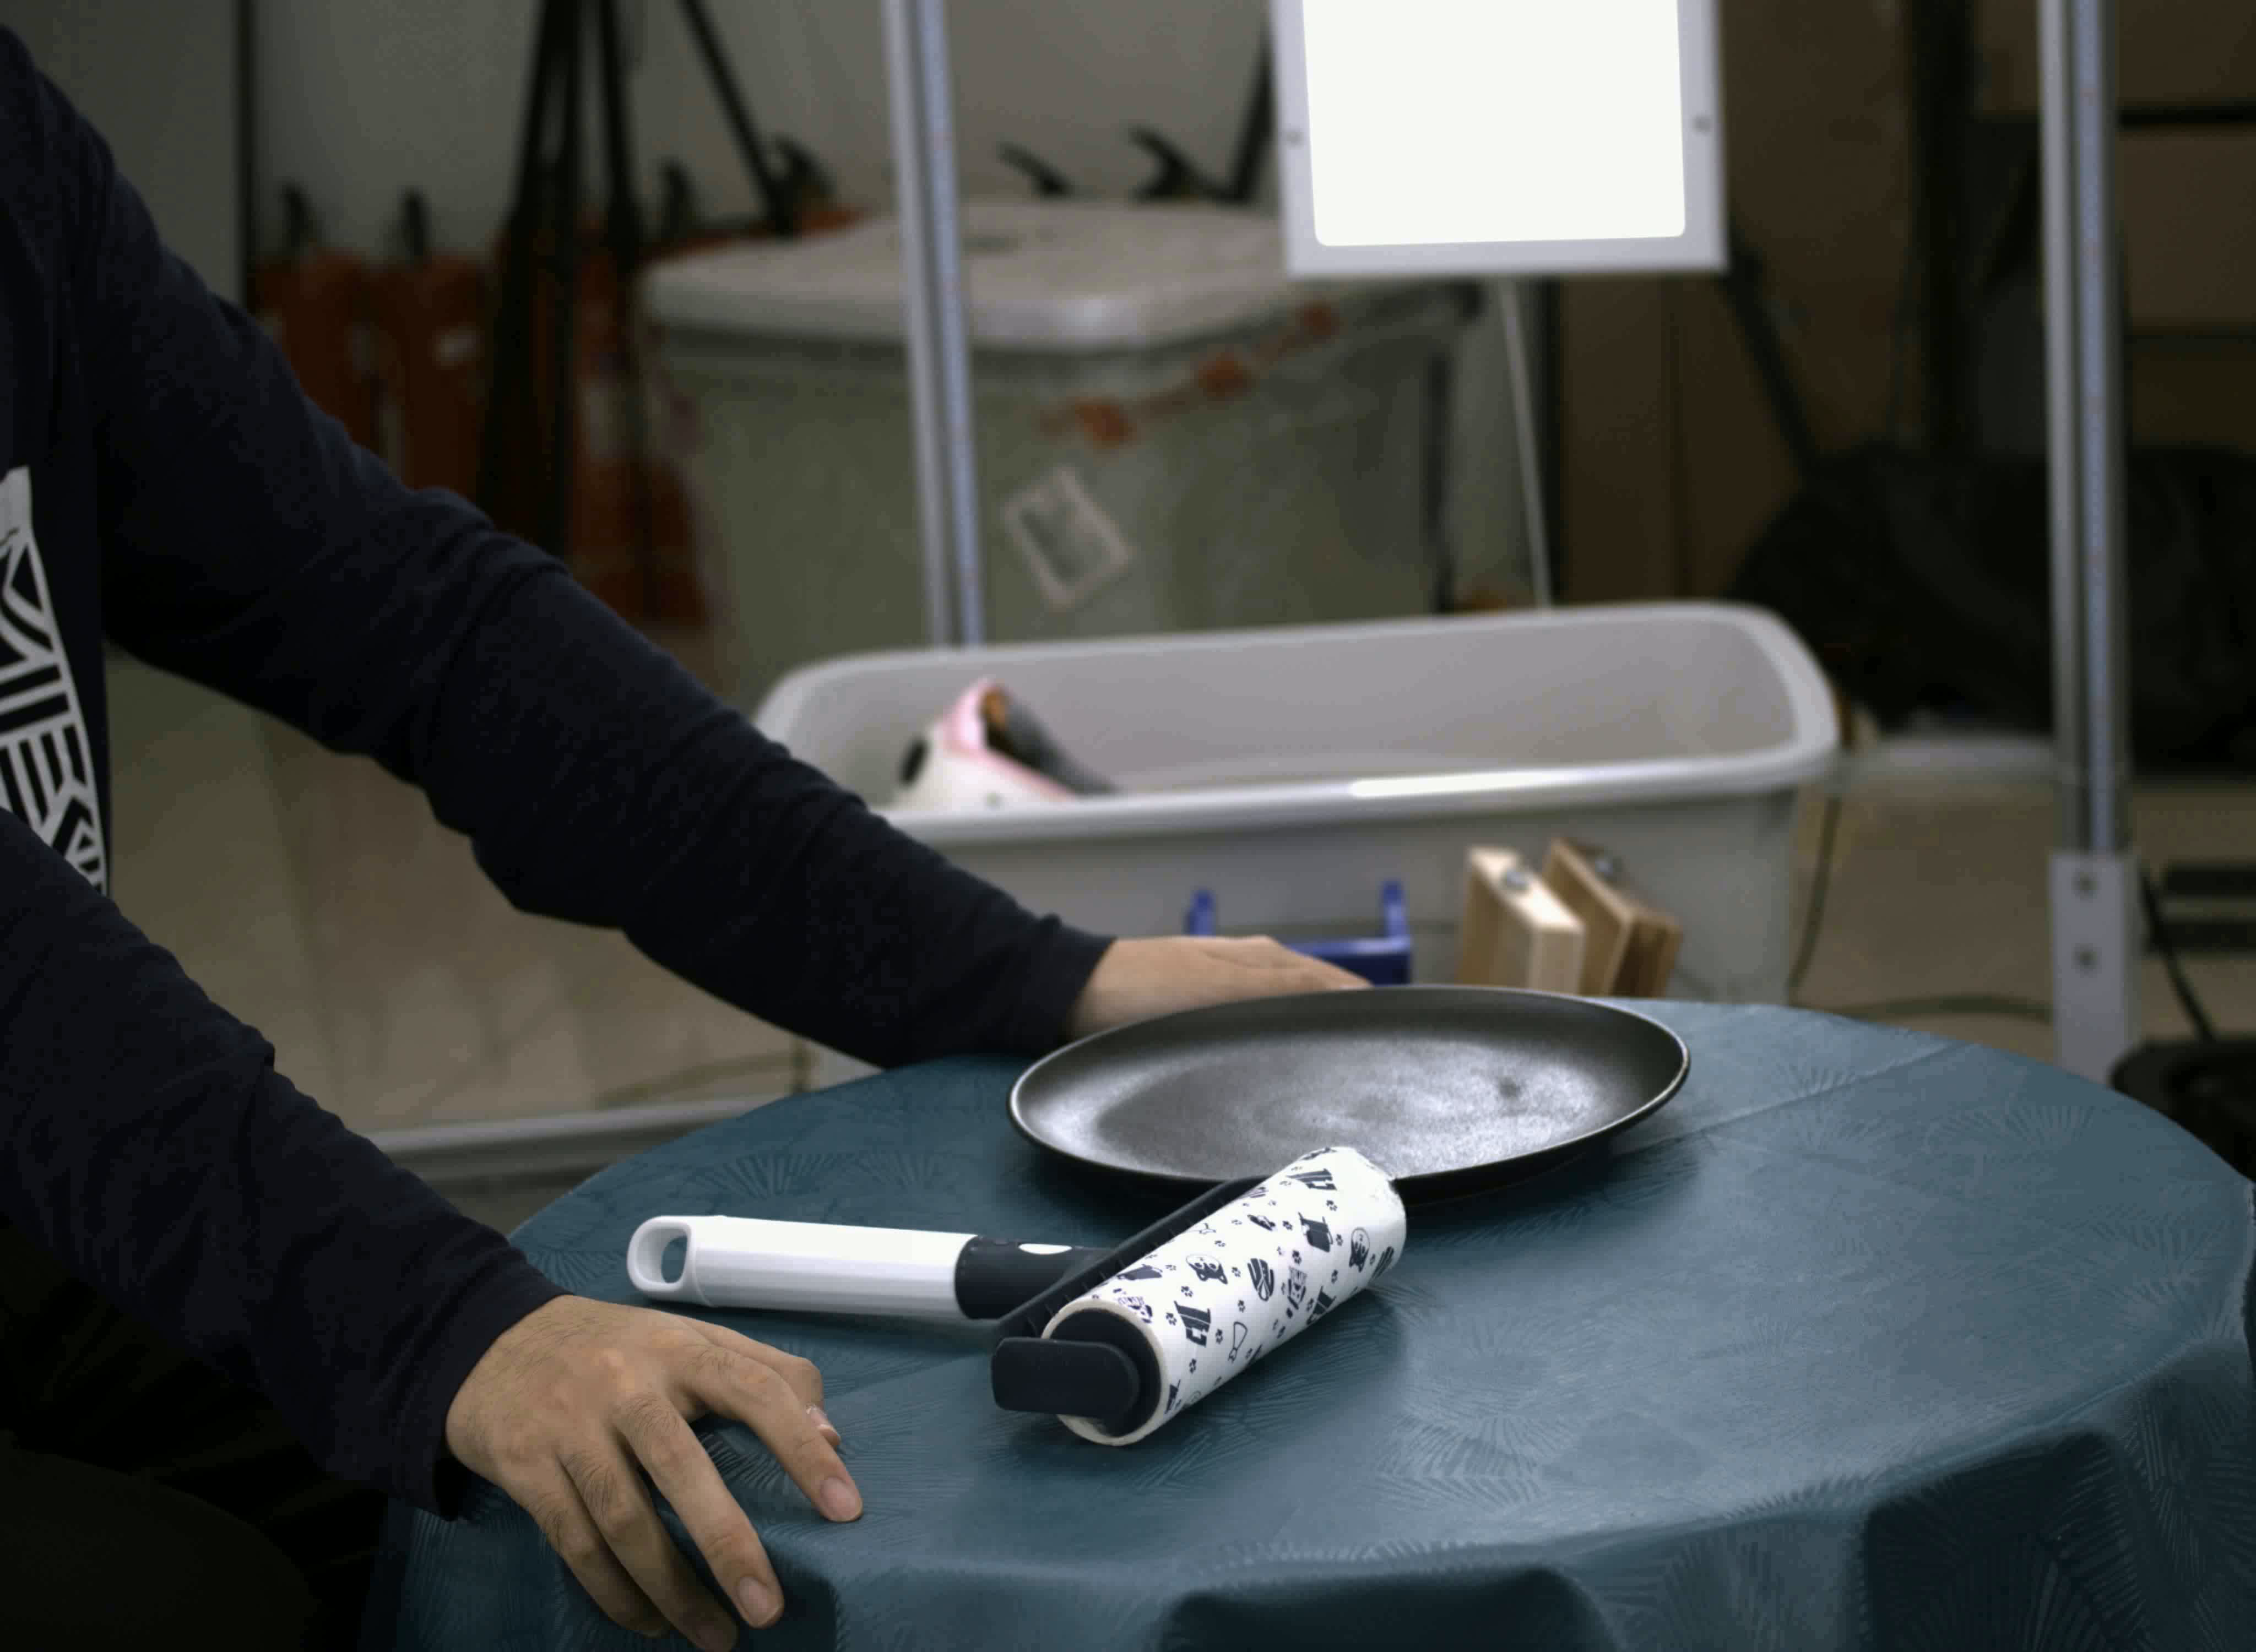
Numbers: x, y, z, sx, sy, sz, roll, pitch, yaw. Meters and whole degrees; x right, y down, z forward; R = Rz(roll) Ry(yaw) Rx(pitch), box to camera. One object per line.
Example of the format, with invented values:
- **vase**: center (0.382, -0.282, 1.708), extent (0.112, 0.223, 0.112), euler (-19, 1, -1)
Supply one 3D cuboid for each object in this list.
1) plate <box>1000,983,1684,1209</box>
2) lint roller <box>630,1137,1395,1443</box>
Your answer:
- **plate**: center (0.076, 0.098, 1.944), extent (0.244, 0.023, 0.244), euler (-5, 14, 0)
- **lint roller**: center (-0.058, 0.143, 1.769), extent (0.252, 0.050, 0.172), euler (0, 15, 31)
